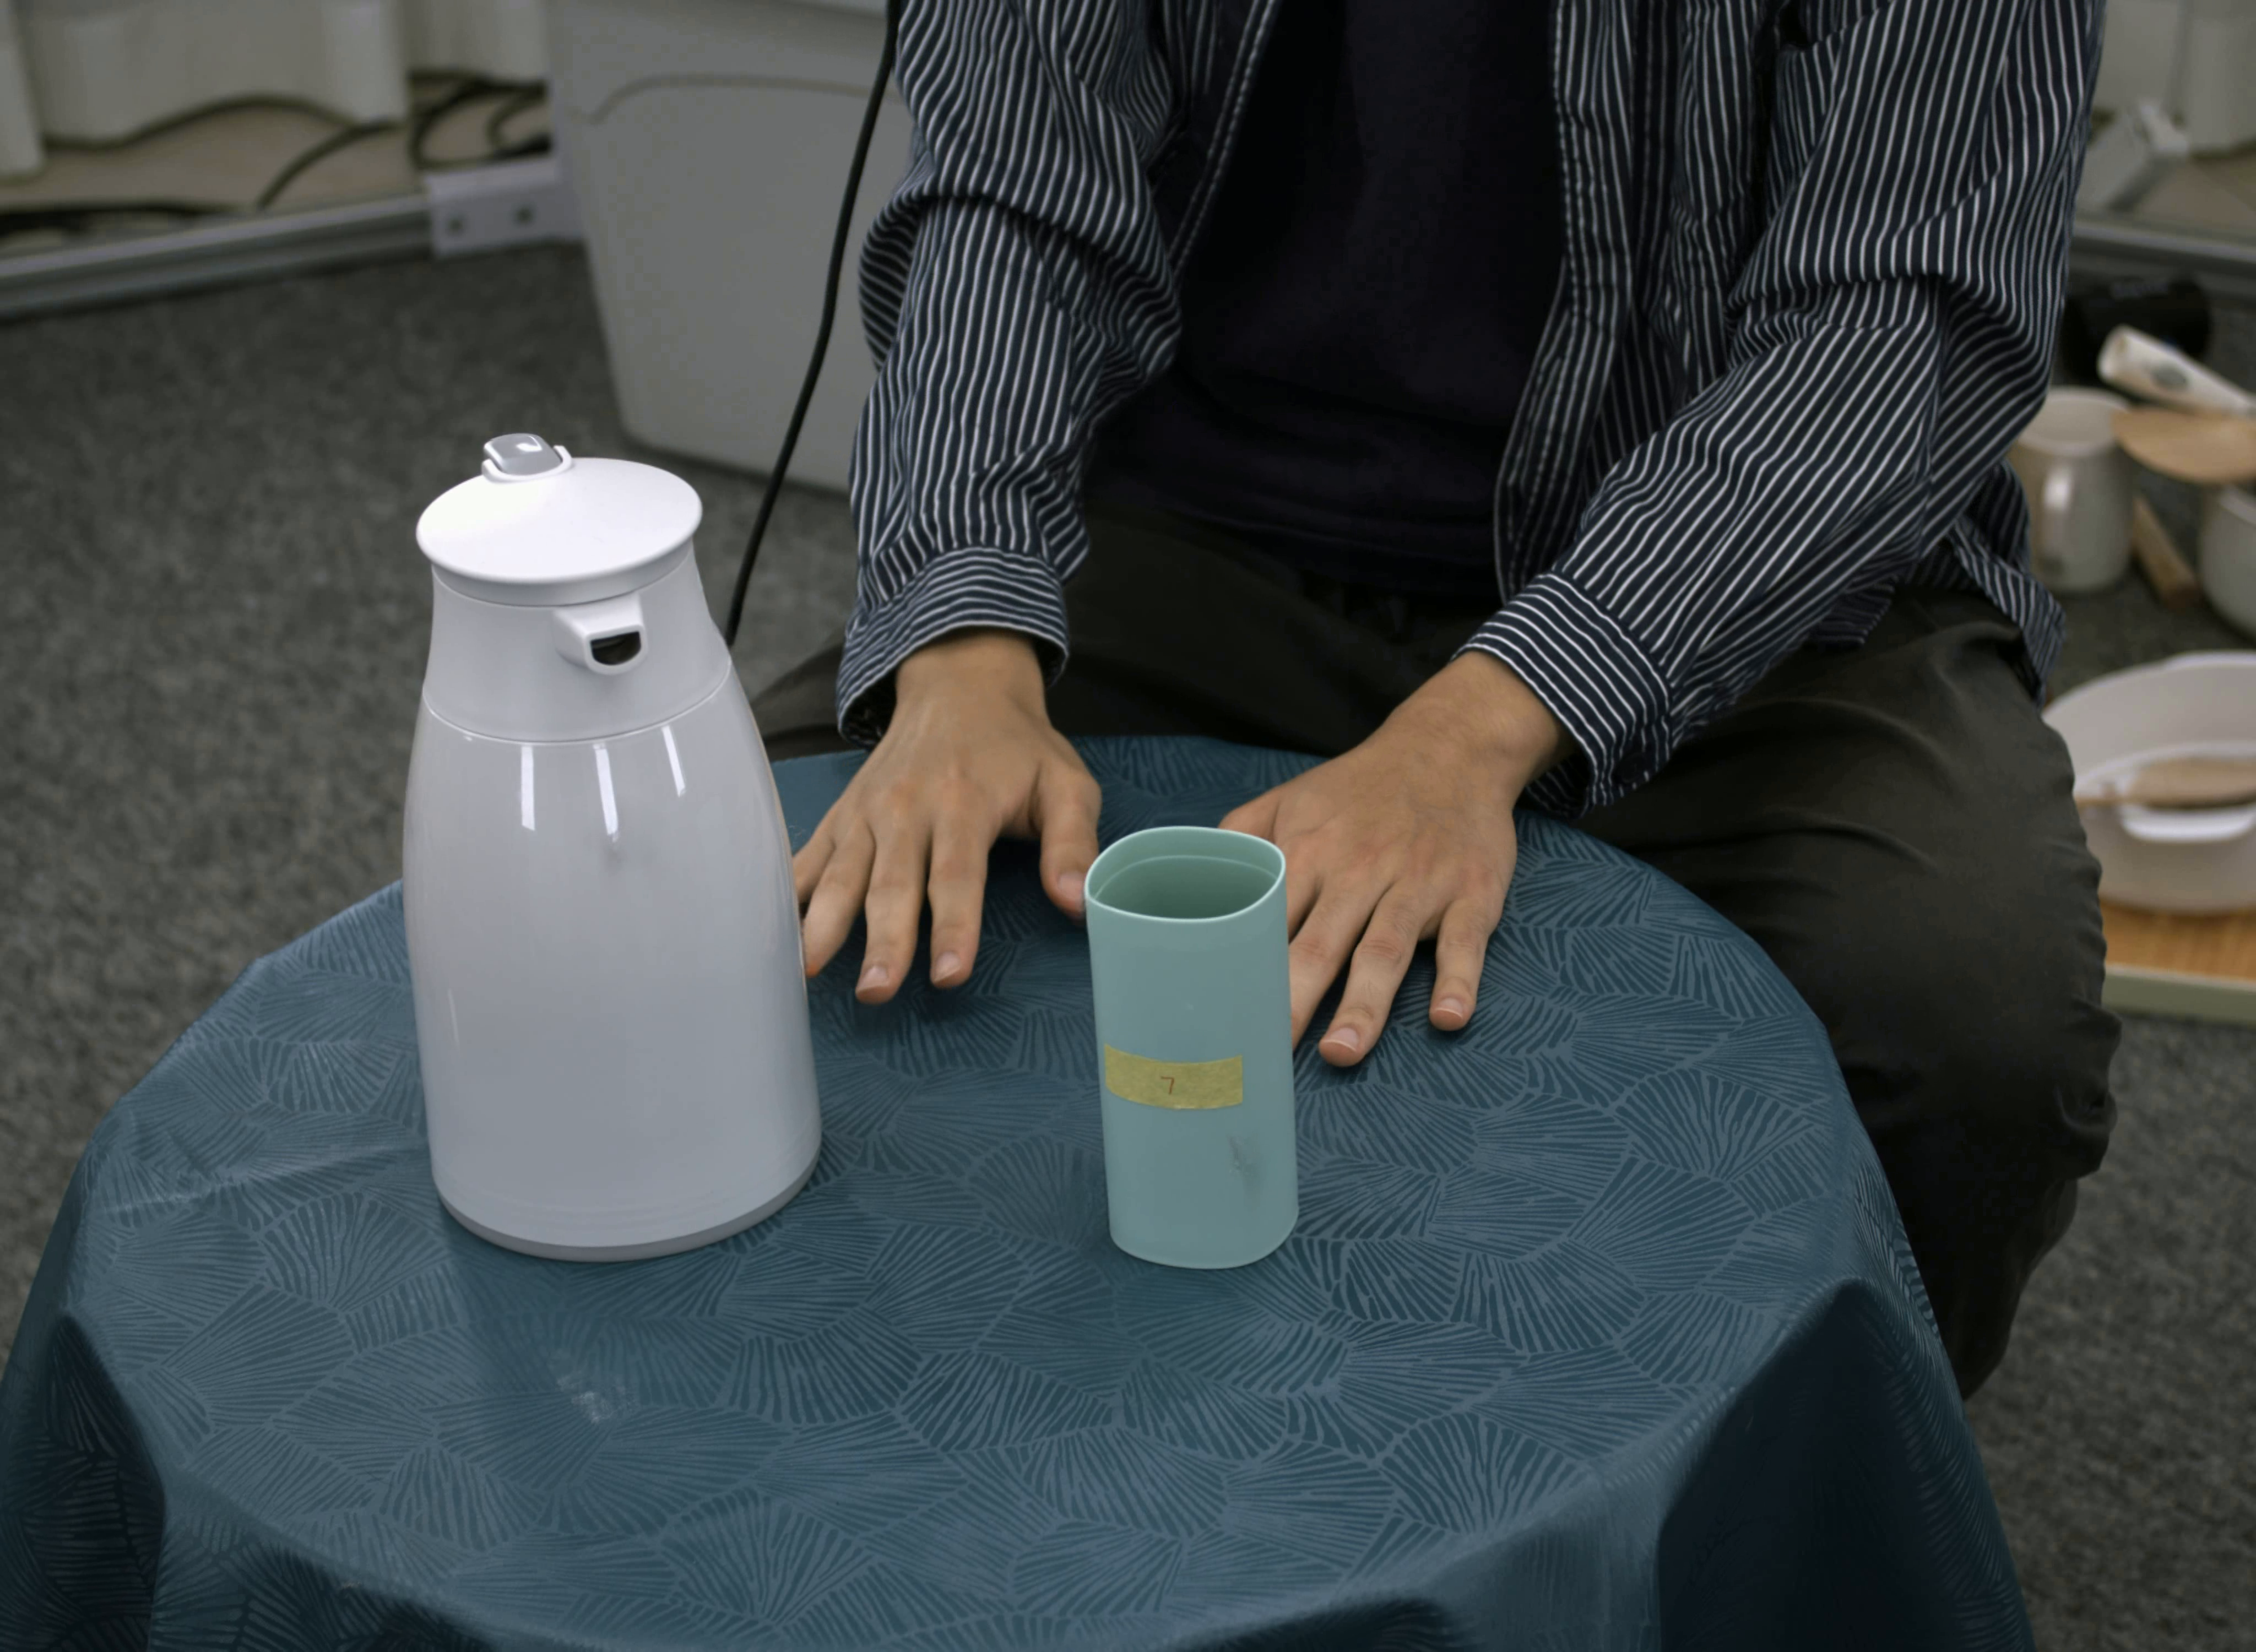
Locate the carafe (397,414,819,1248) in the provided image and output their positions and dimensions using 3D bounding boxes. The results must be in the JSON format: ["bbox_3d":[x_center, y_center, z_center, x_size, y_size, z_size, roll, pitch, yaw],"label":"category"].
[{"bbox_3d":[-0.185,-0.008,1.851,0.133,0.246,0.169,-14,27,-19],"label":"carafe"}]

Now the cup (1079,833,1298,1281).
[{"bbox_3d":[0.021,0.074,1.810,0.066,0.131,0.068,-3,28,2],"label":"cup"}]
